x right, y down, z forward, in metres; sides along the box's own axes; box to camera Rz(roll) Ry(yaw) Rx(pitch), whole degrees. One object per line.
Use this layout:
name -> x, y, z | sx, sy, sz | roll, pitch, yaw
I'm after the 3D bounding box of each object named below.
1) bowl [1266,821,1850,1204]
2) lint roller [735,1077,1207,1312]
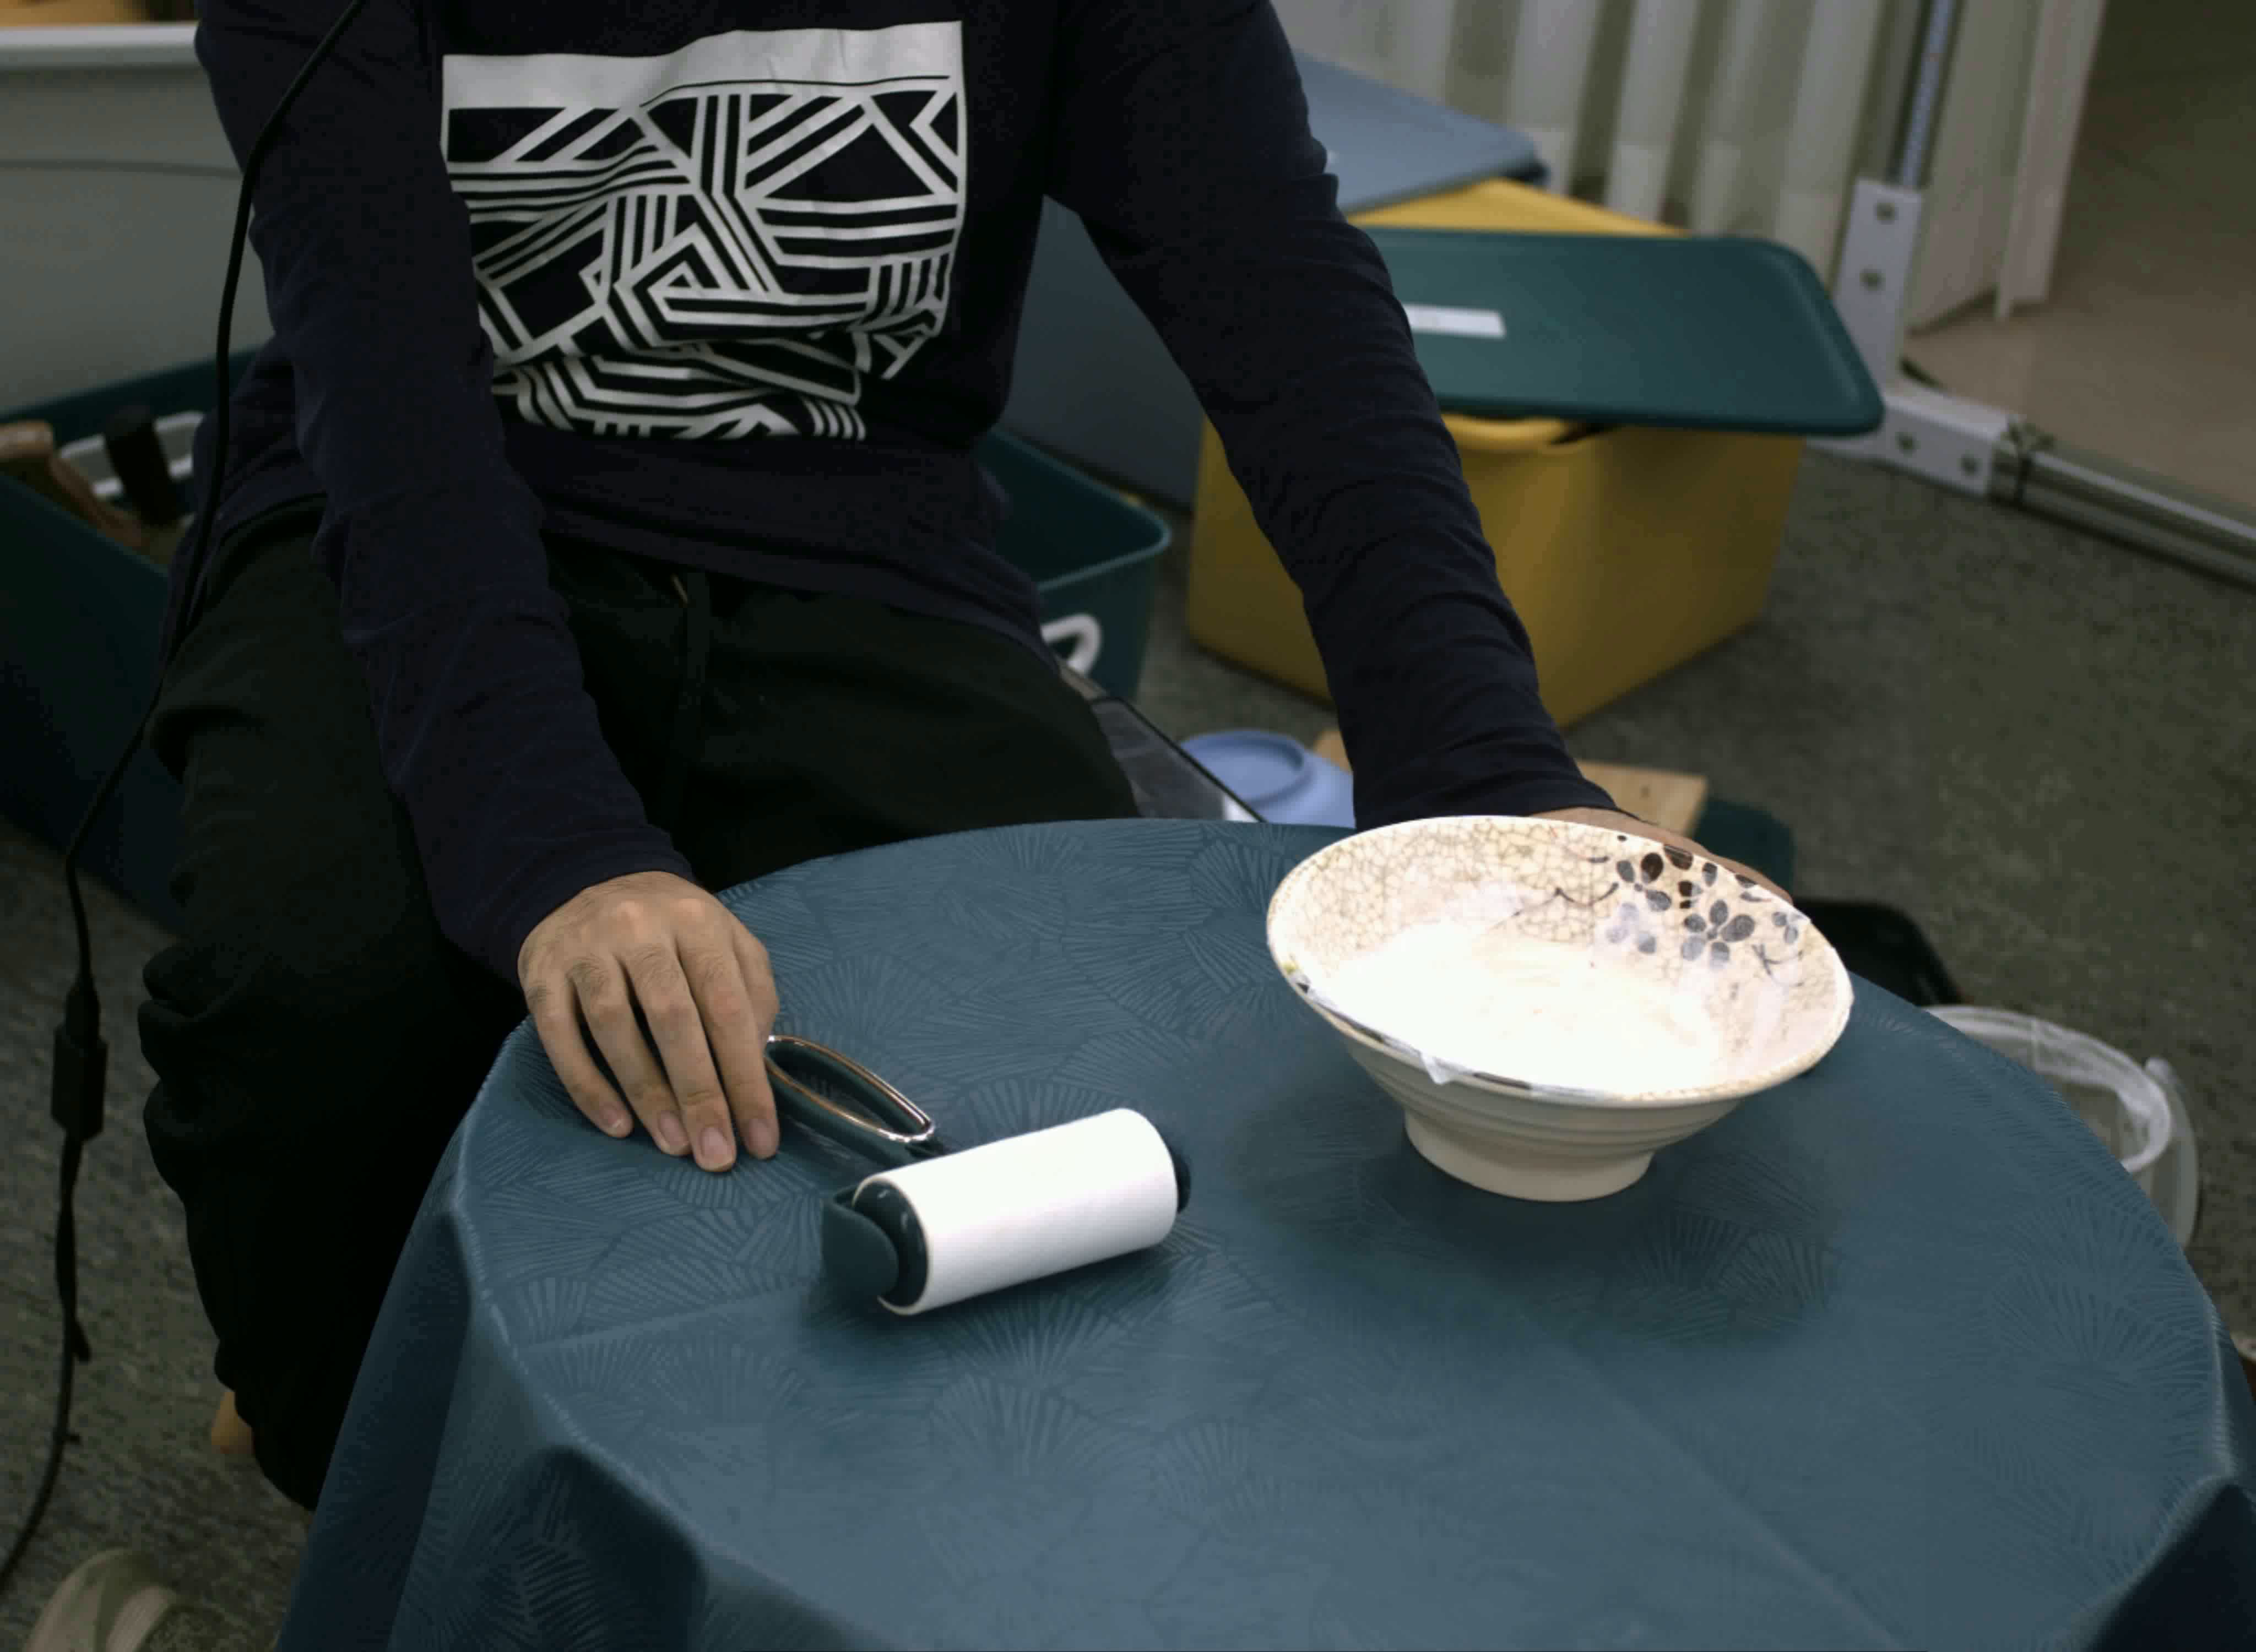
bowl -> 0.144, 0.077, 1.846 | 0.203, 0.078, 0.205 | 6, 25, -3
lint roller -> -0.077, 0.102, 1.790 | 0.133, 0.048, 0.181 | -13, 28, -34
